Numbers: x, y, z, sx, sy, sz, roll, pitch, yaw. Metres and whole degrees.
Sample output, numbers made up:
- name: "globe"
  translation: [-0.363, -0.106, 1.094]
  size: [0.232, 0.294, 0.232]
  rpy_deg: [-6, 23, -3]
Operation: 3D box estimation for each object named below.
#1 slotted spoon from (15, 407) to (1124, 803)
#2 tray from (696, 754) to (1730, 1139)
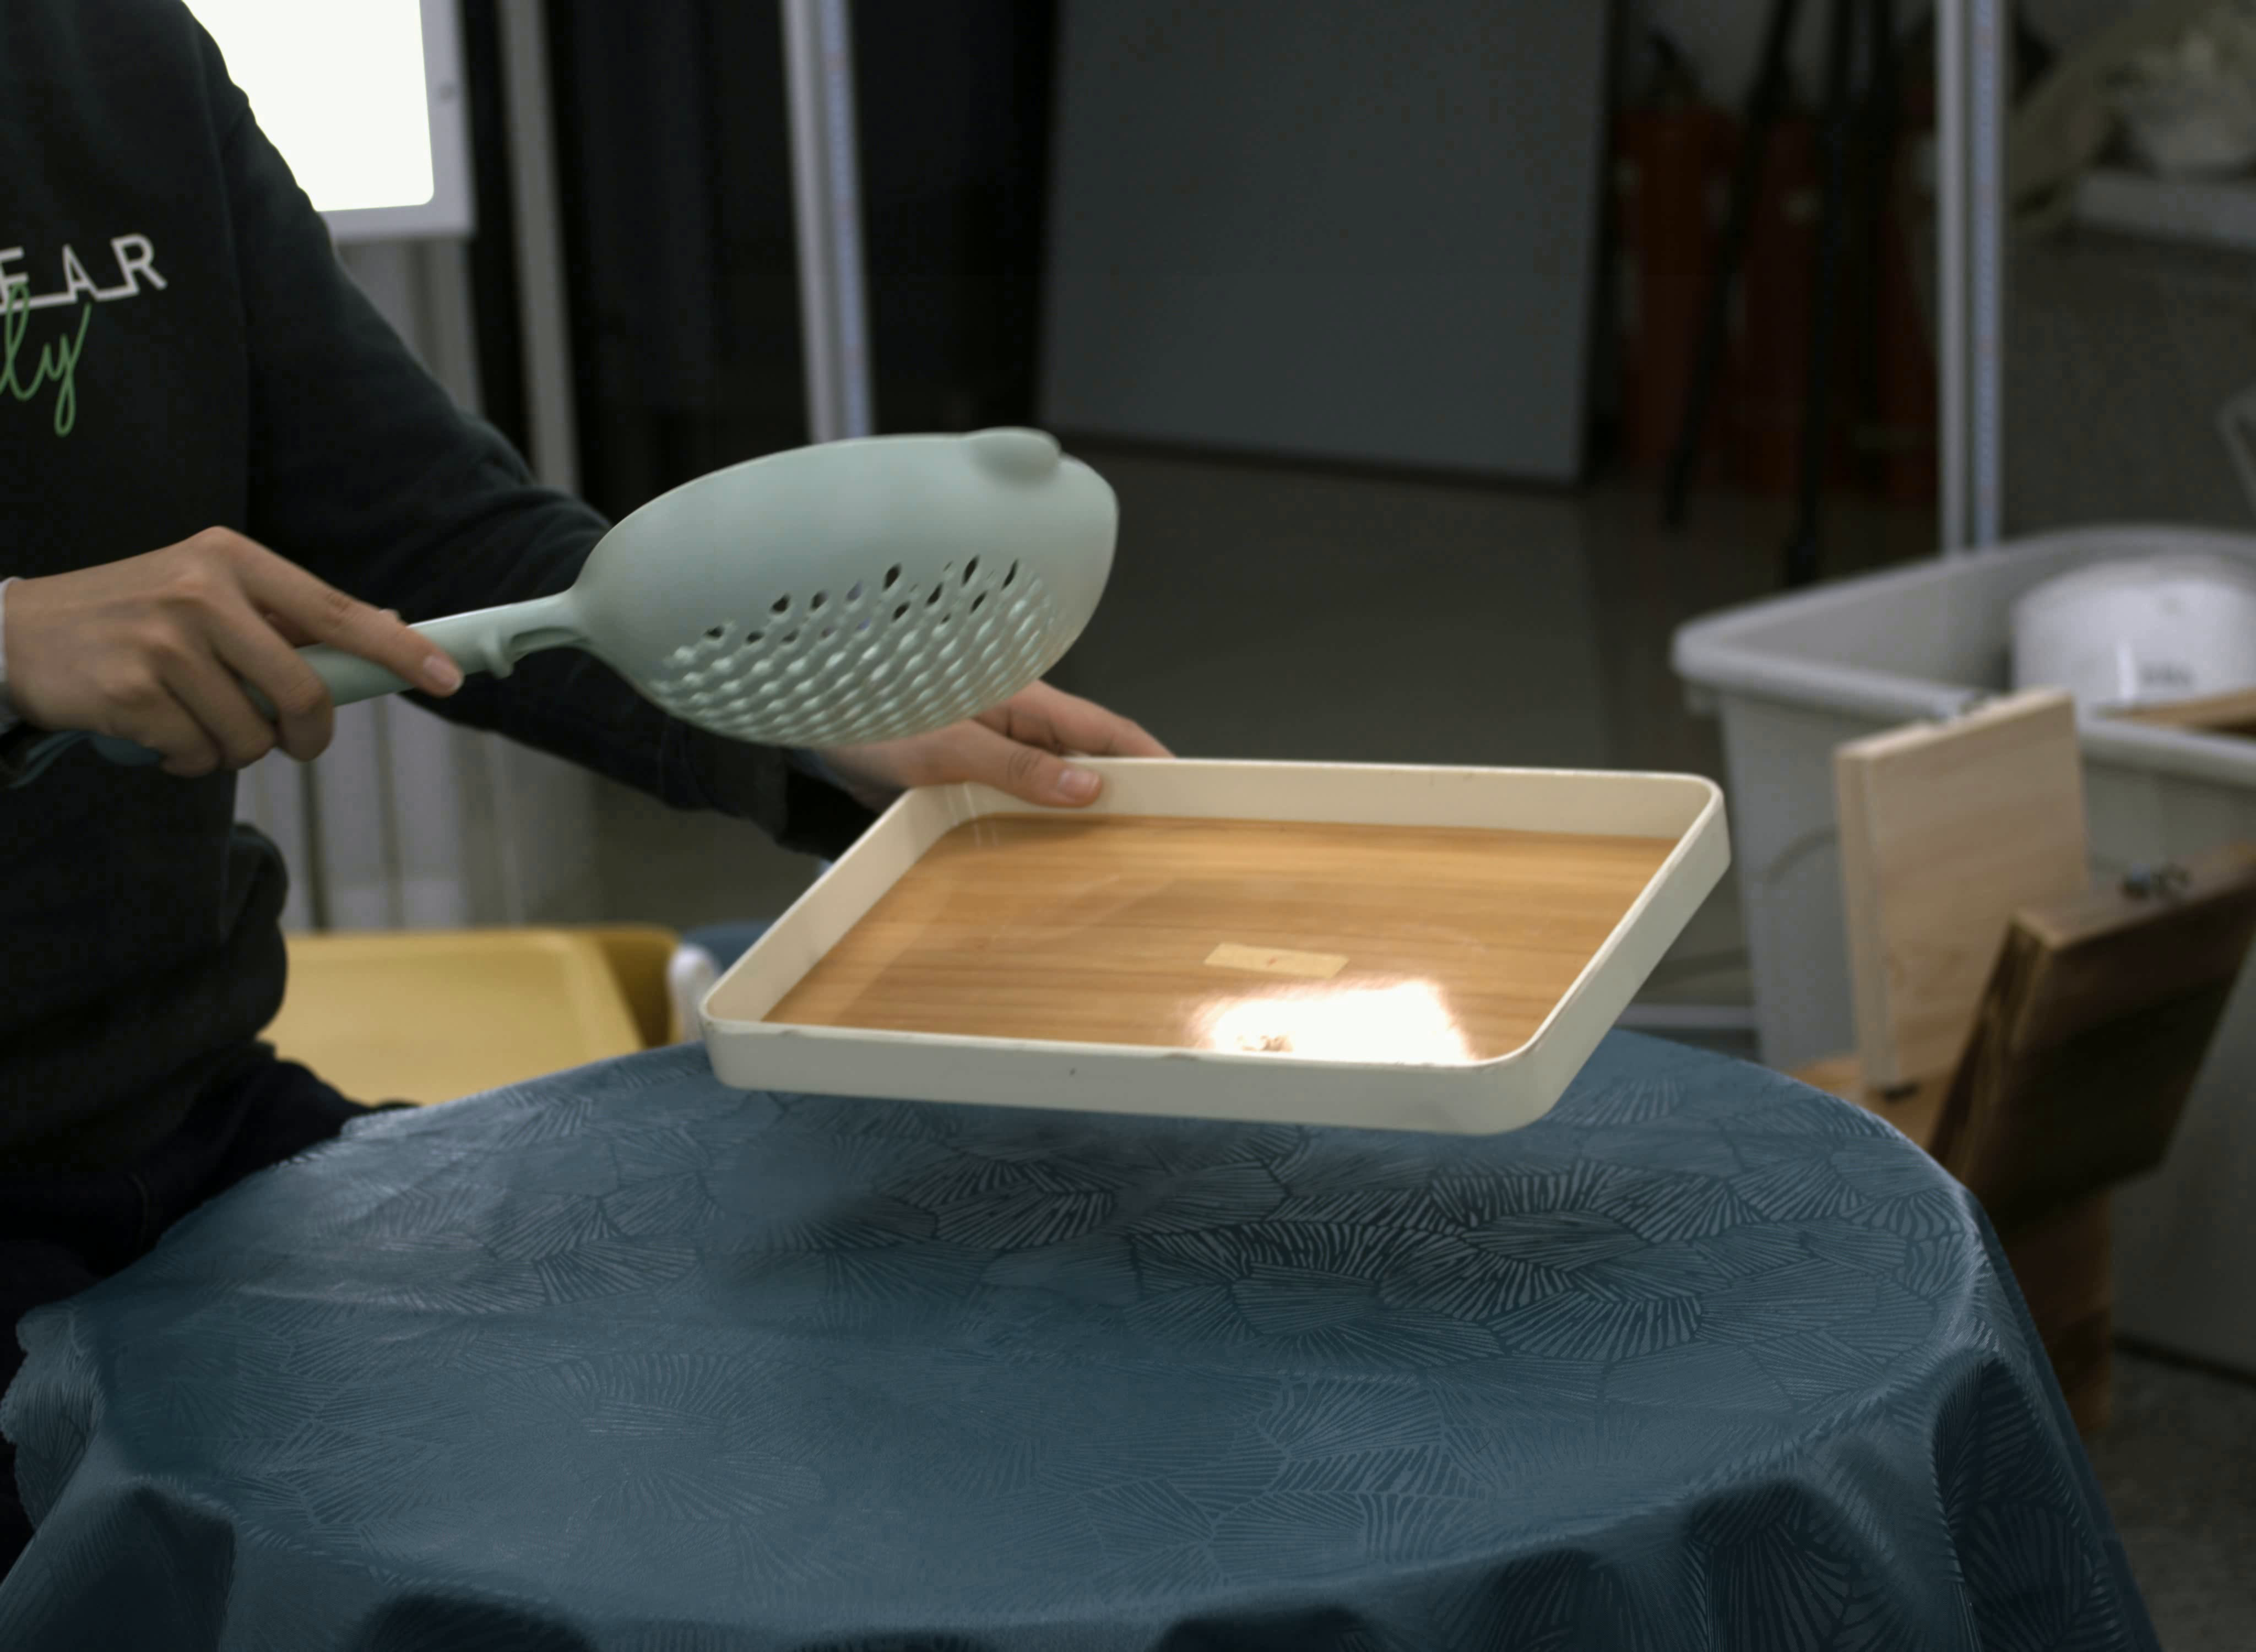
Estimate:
- name: "slotted spoon"
  translation: [-0.176, -0.059, 1.697]
  size: [0.355, 0.076, 0.168]
  rpy_deg: [-5, -20, 7]
- name: "tray"
  translation: [0.027, 0.035, 1.730]
  size: [0.301, 0.027, 0.190]
  rpy_deg: [2, 30, 30]
